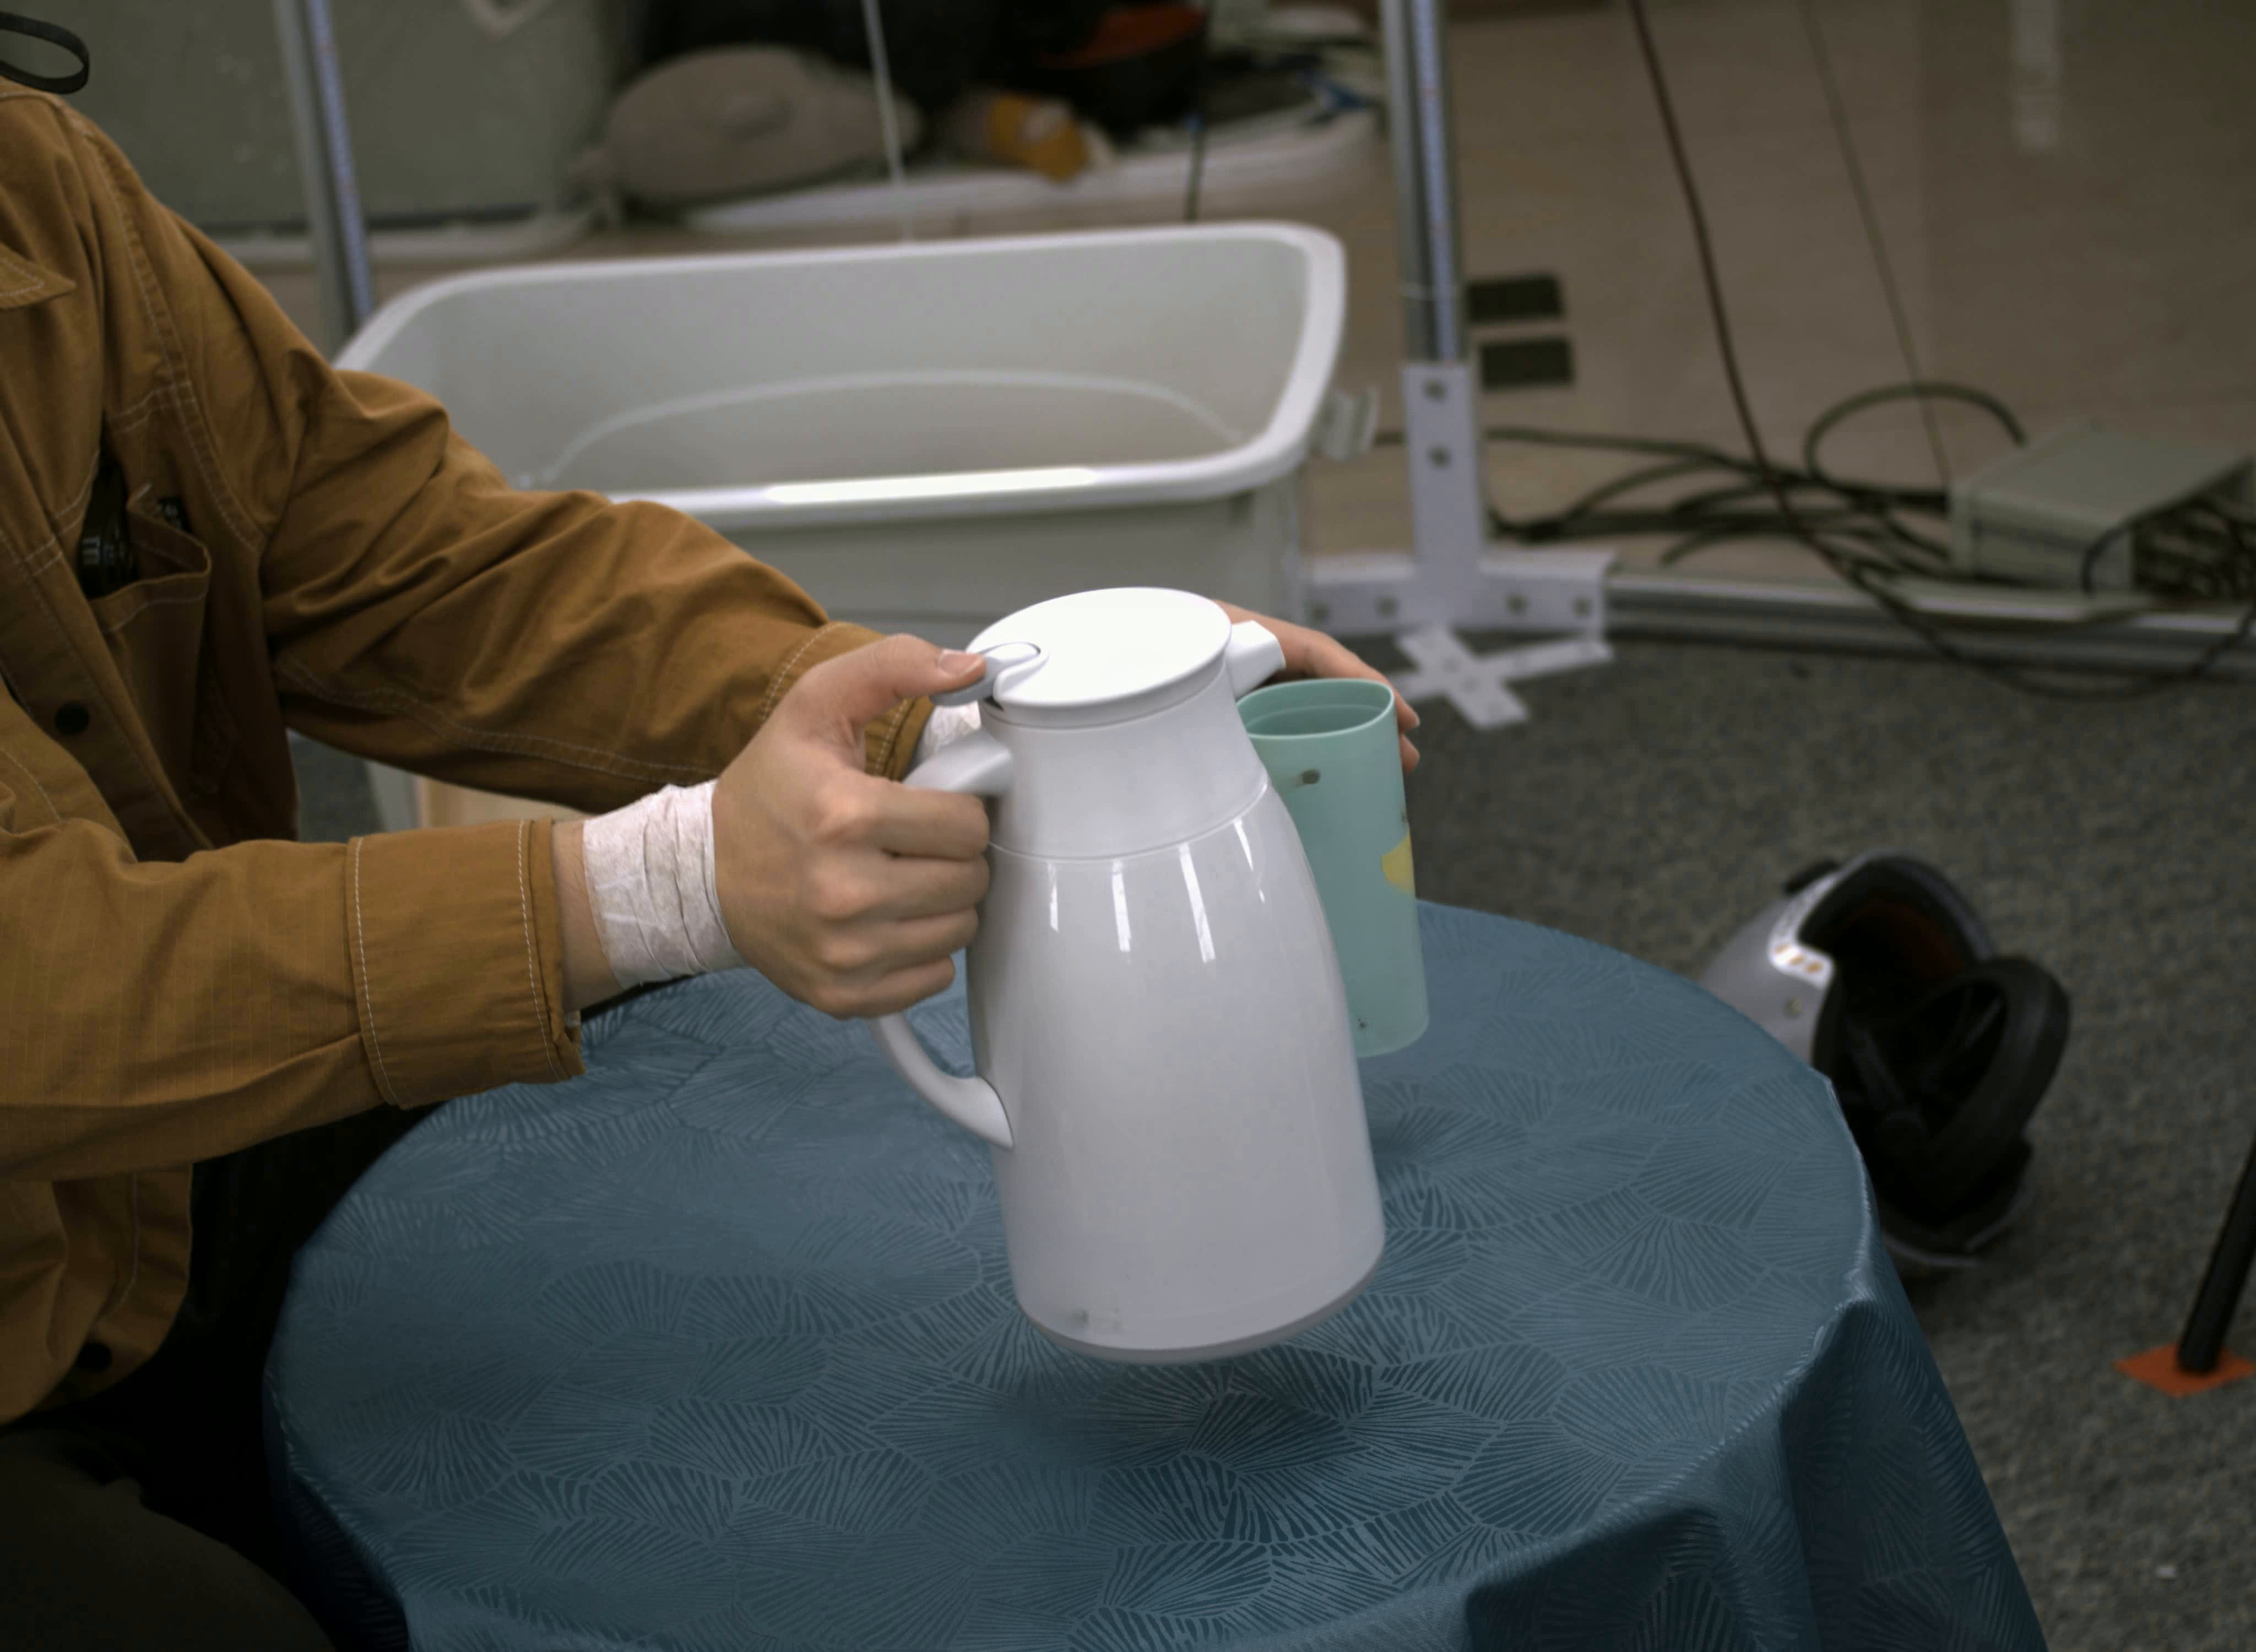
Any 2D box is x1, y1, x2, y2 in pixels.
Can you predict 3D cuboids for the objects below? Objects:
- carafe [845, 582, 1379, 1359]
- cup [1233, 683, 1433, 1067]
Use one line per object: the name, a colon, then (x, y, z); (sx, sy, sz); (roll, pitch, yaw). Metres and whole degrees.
carafe: (-0.011, 0.049, 1.925); (0.167, 0.252, 0.131); (-19, 28, -19)
cup: (0.076, 0.018, 2.125); (0.066, 0.134, 0.066); (-6, 21, 2)
